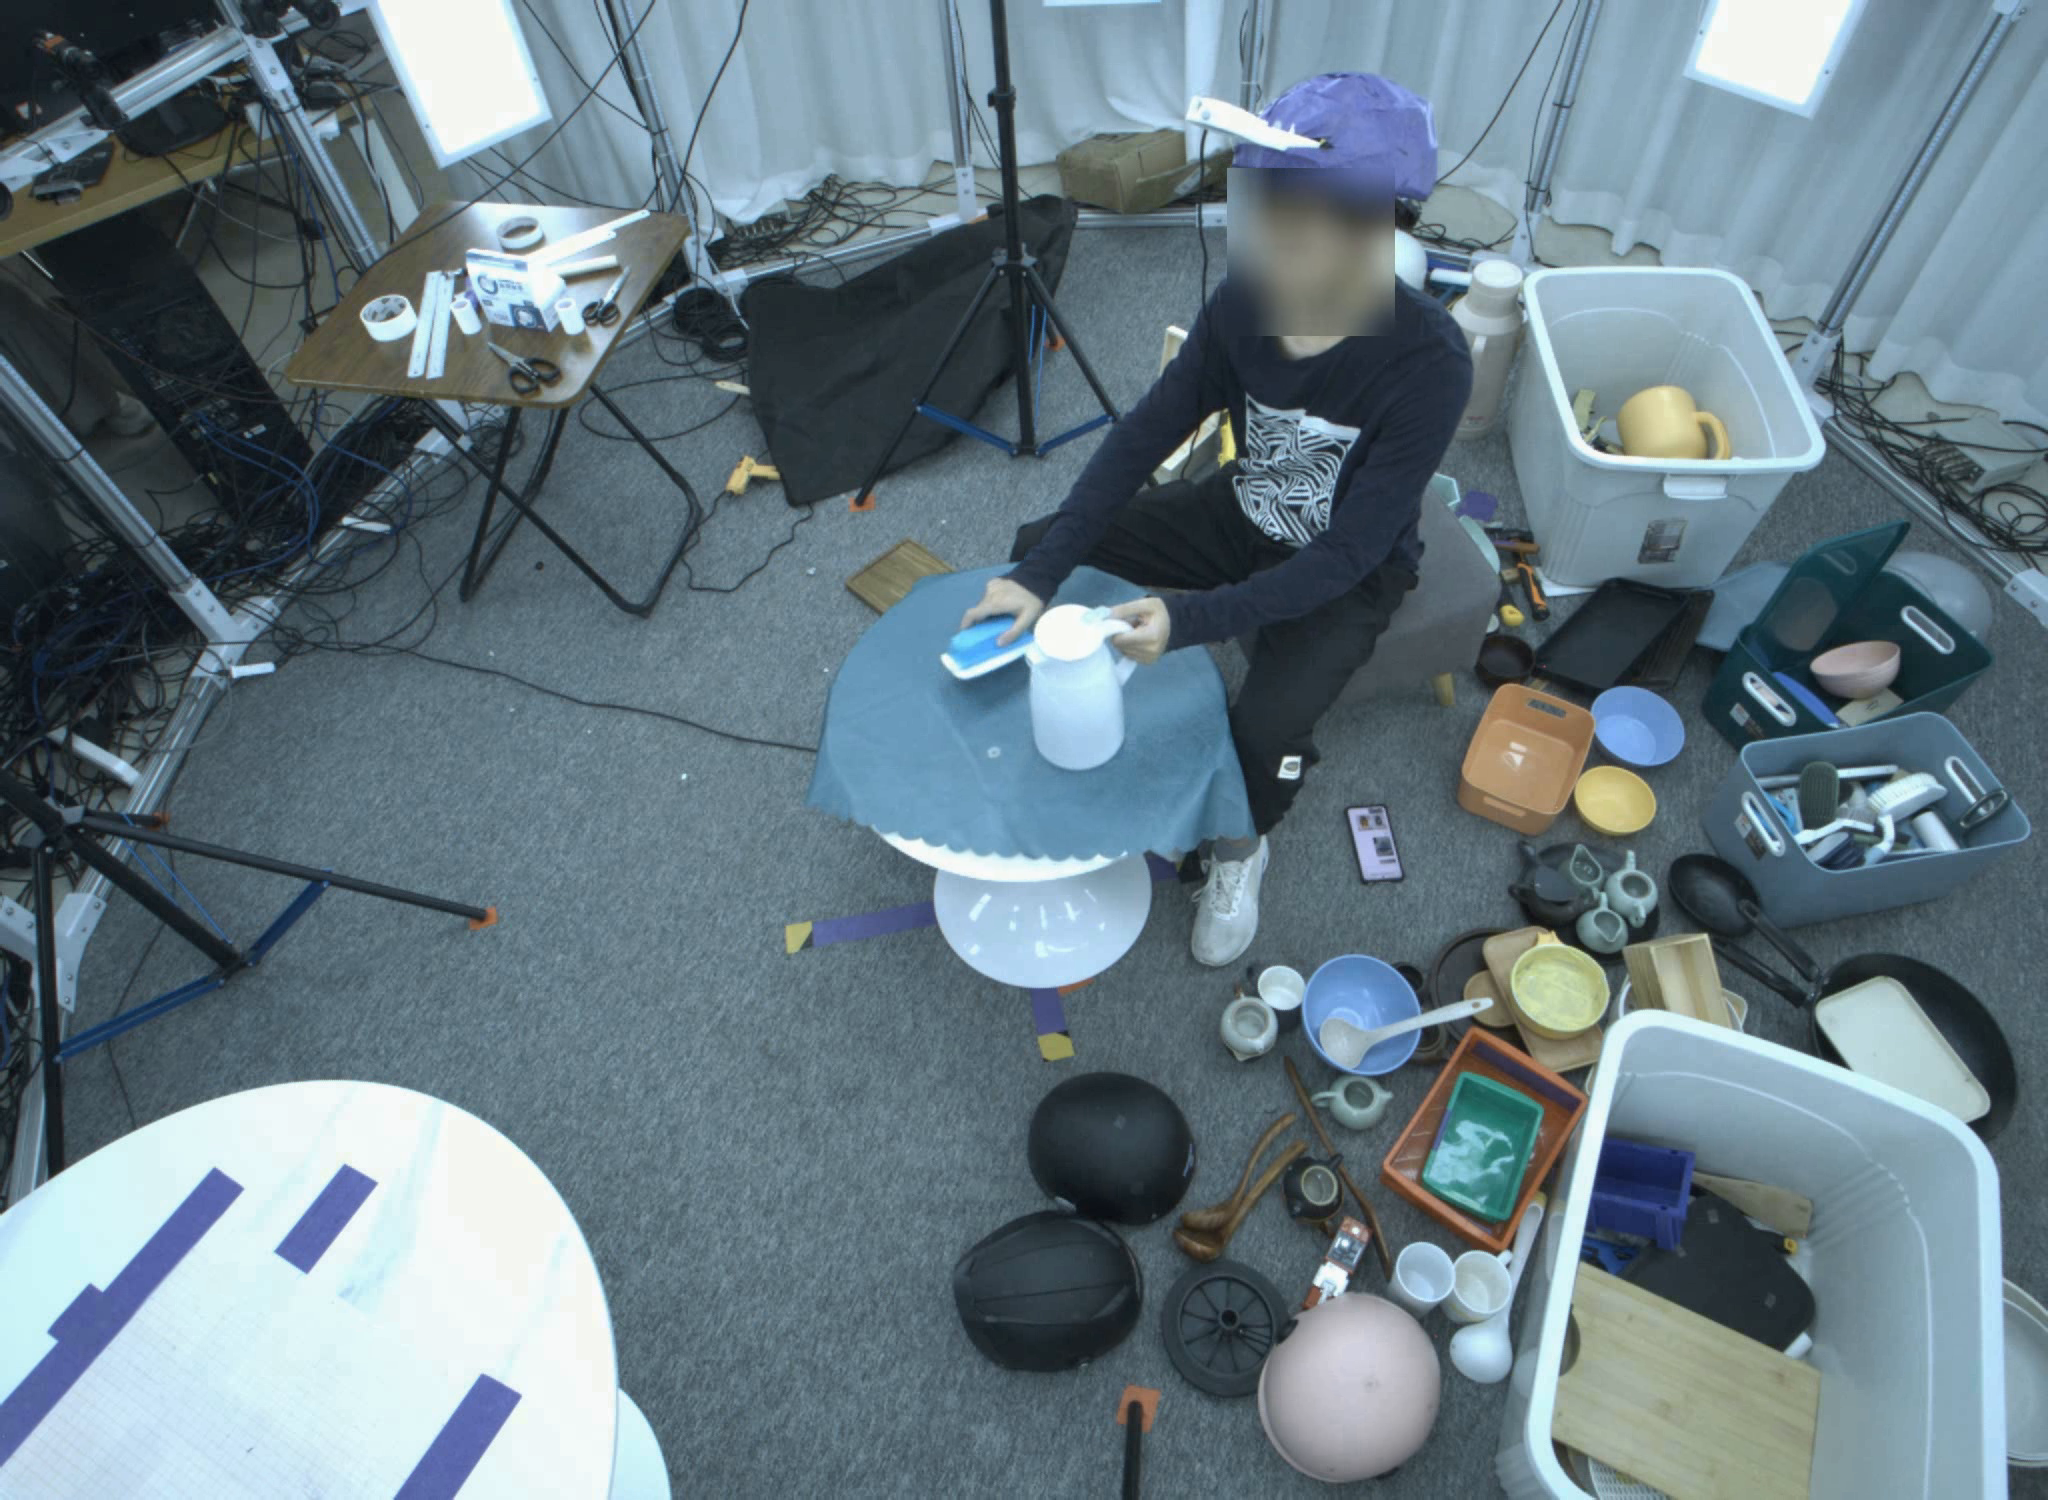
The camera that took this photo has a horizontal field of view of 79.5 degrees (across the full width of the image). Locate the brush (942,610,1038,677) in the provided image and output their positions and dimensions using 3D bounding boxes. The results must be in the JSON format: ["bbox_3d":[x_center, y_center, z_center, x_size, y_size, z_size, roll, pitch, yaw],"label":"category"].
[{"bbox_3d":[-0.049,-0.166,1.826,0.145,0.056,0.082,-26,46,-16],"label":"brush"}]

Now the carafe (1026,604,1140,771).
[{"bbox_3d":[0.084,-0.101,1.688,0.169,0.251,0.130,-30,60,-14],"label":"carafe"}]
